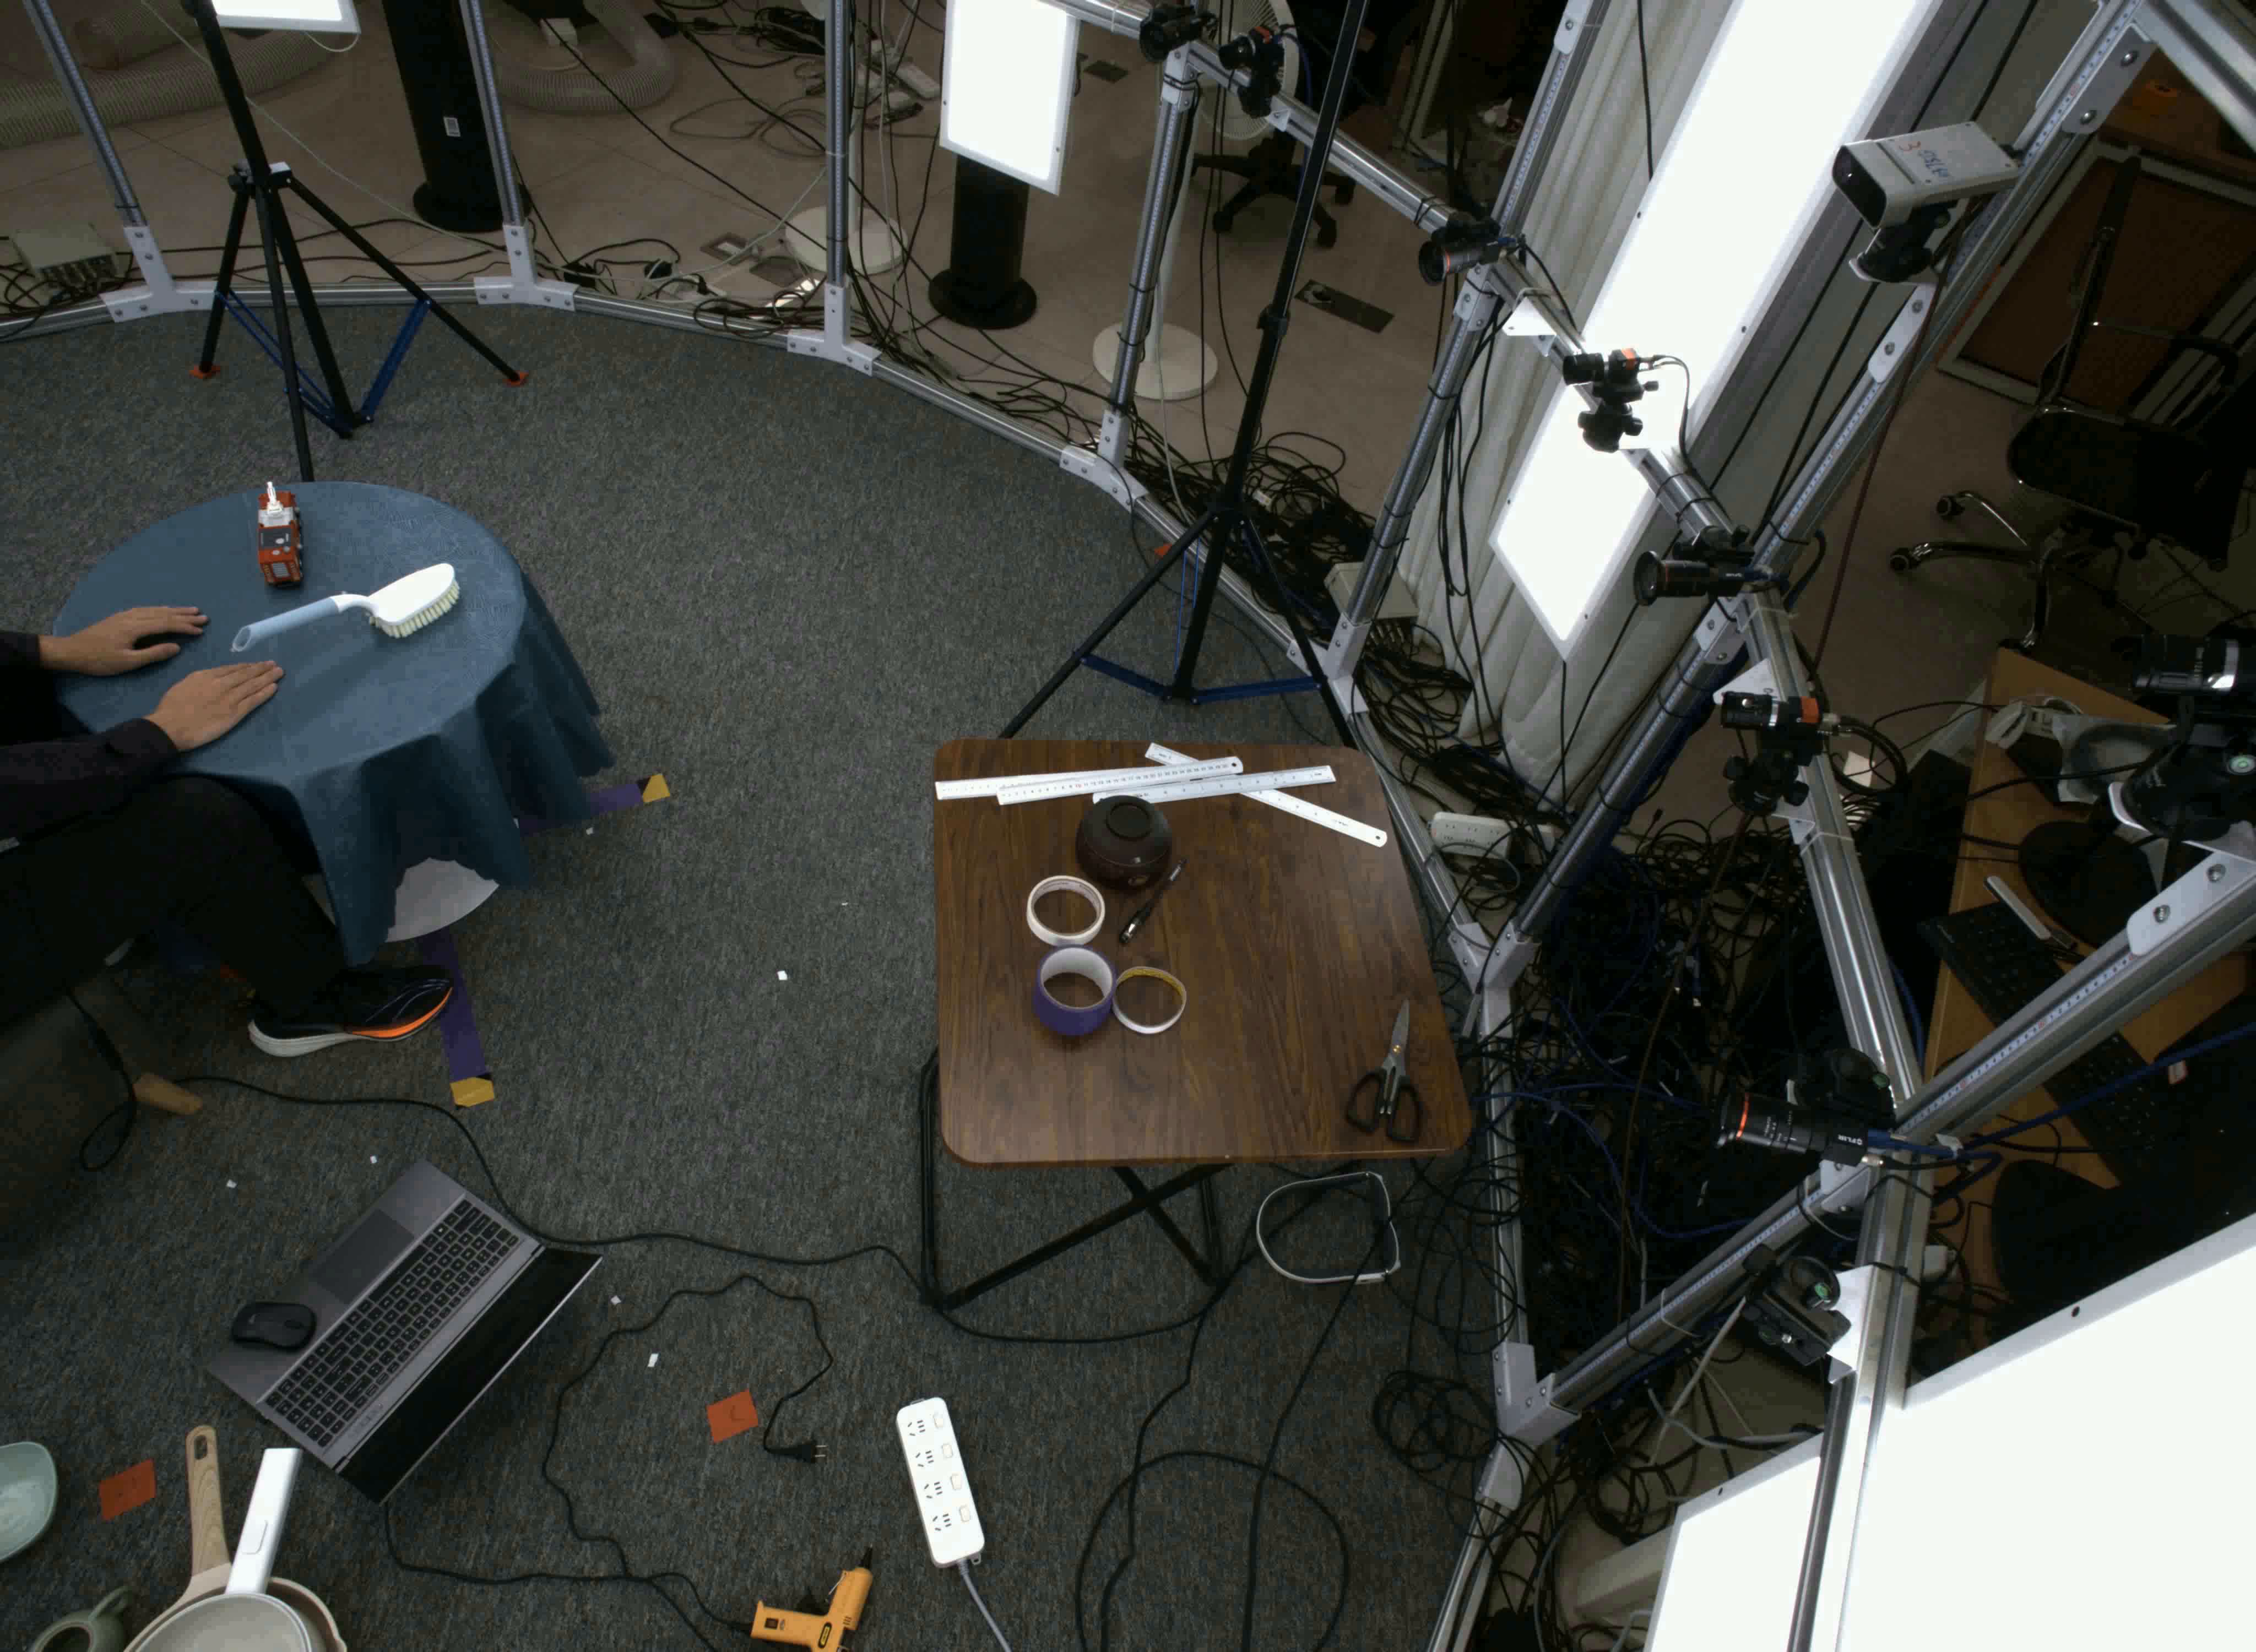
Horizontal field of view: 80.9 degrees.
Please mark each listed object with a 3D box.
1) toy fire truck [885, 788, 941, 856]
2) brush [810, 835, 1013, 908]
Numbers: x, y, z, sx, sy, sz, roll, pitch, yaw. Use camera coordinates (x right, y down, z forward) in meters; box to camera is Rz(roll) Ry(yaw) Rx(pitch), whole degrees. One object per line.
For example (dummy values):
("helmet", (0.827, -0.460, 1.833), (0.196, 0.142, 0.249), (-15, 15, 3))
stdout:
("toy fire truck", (-0.361, -0.003, 2.183), (0.053, 0.072, 0.166), (7, 24, 8))
("brush", (-0.328, 0.078, 1.975), (0.331, 0.084, 0.082), (8, -16, -29))
